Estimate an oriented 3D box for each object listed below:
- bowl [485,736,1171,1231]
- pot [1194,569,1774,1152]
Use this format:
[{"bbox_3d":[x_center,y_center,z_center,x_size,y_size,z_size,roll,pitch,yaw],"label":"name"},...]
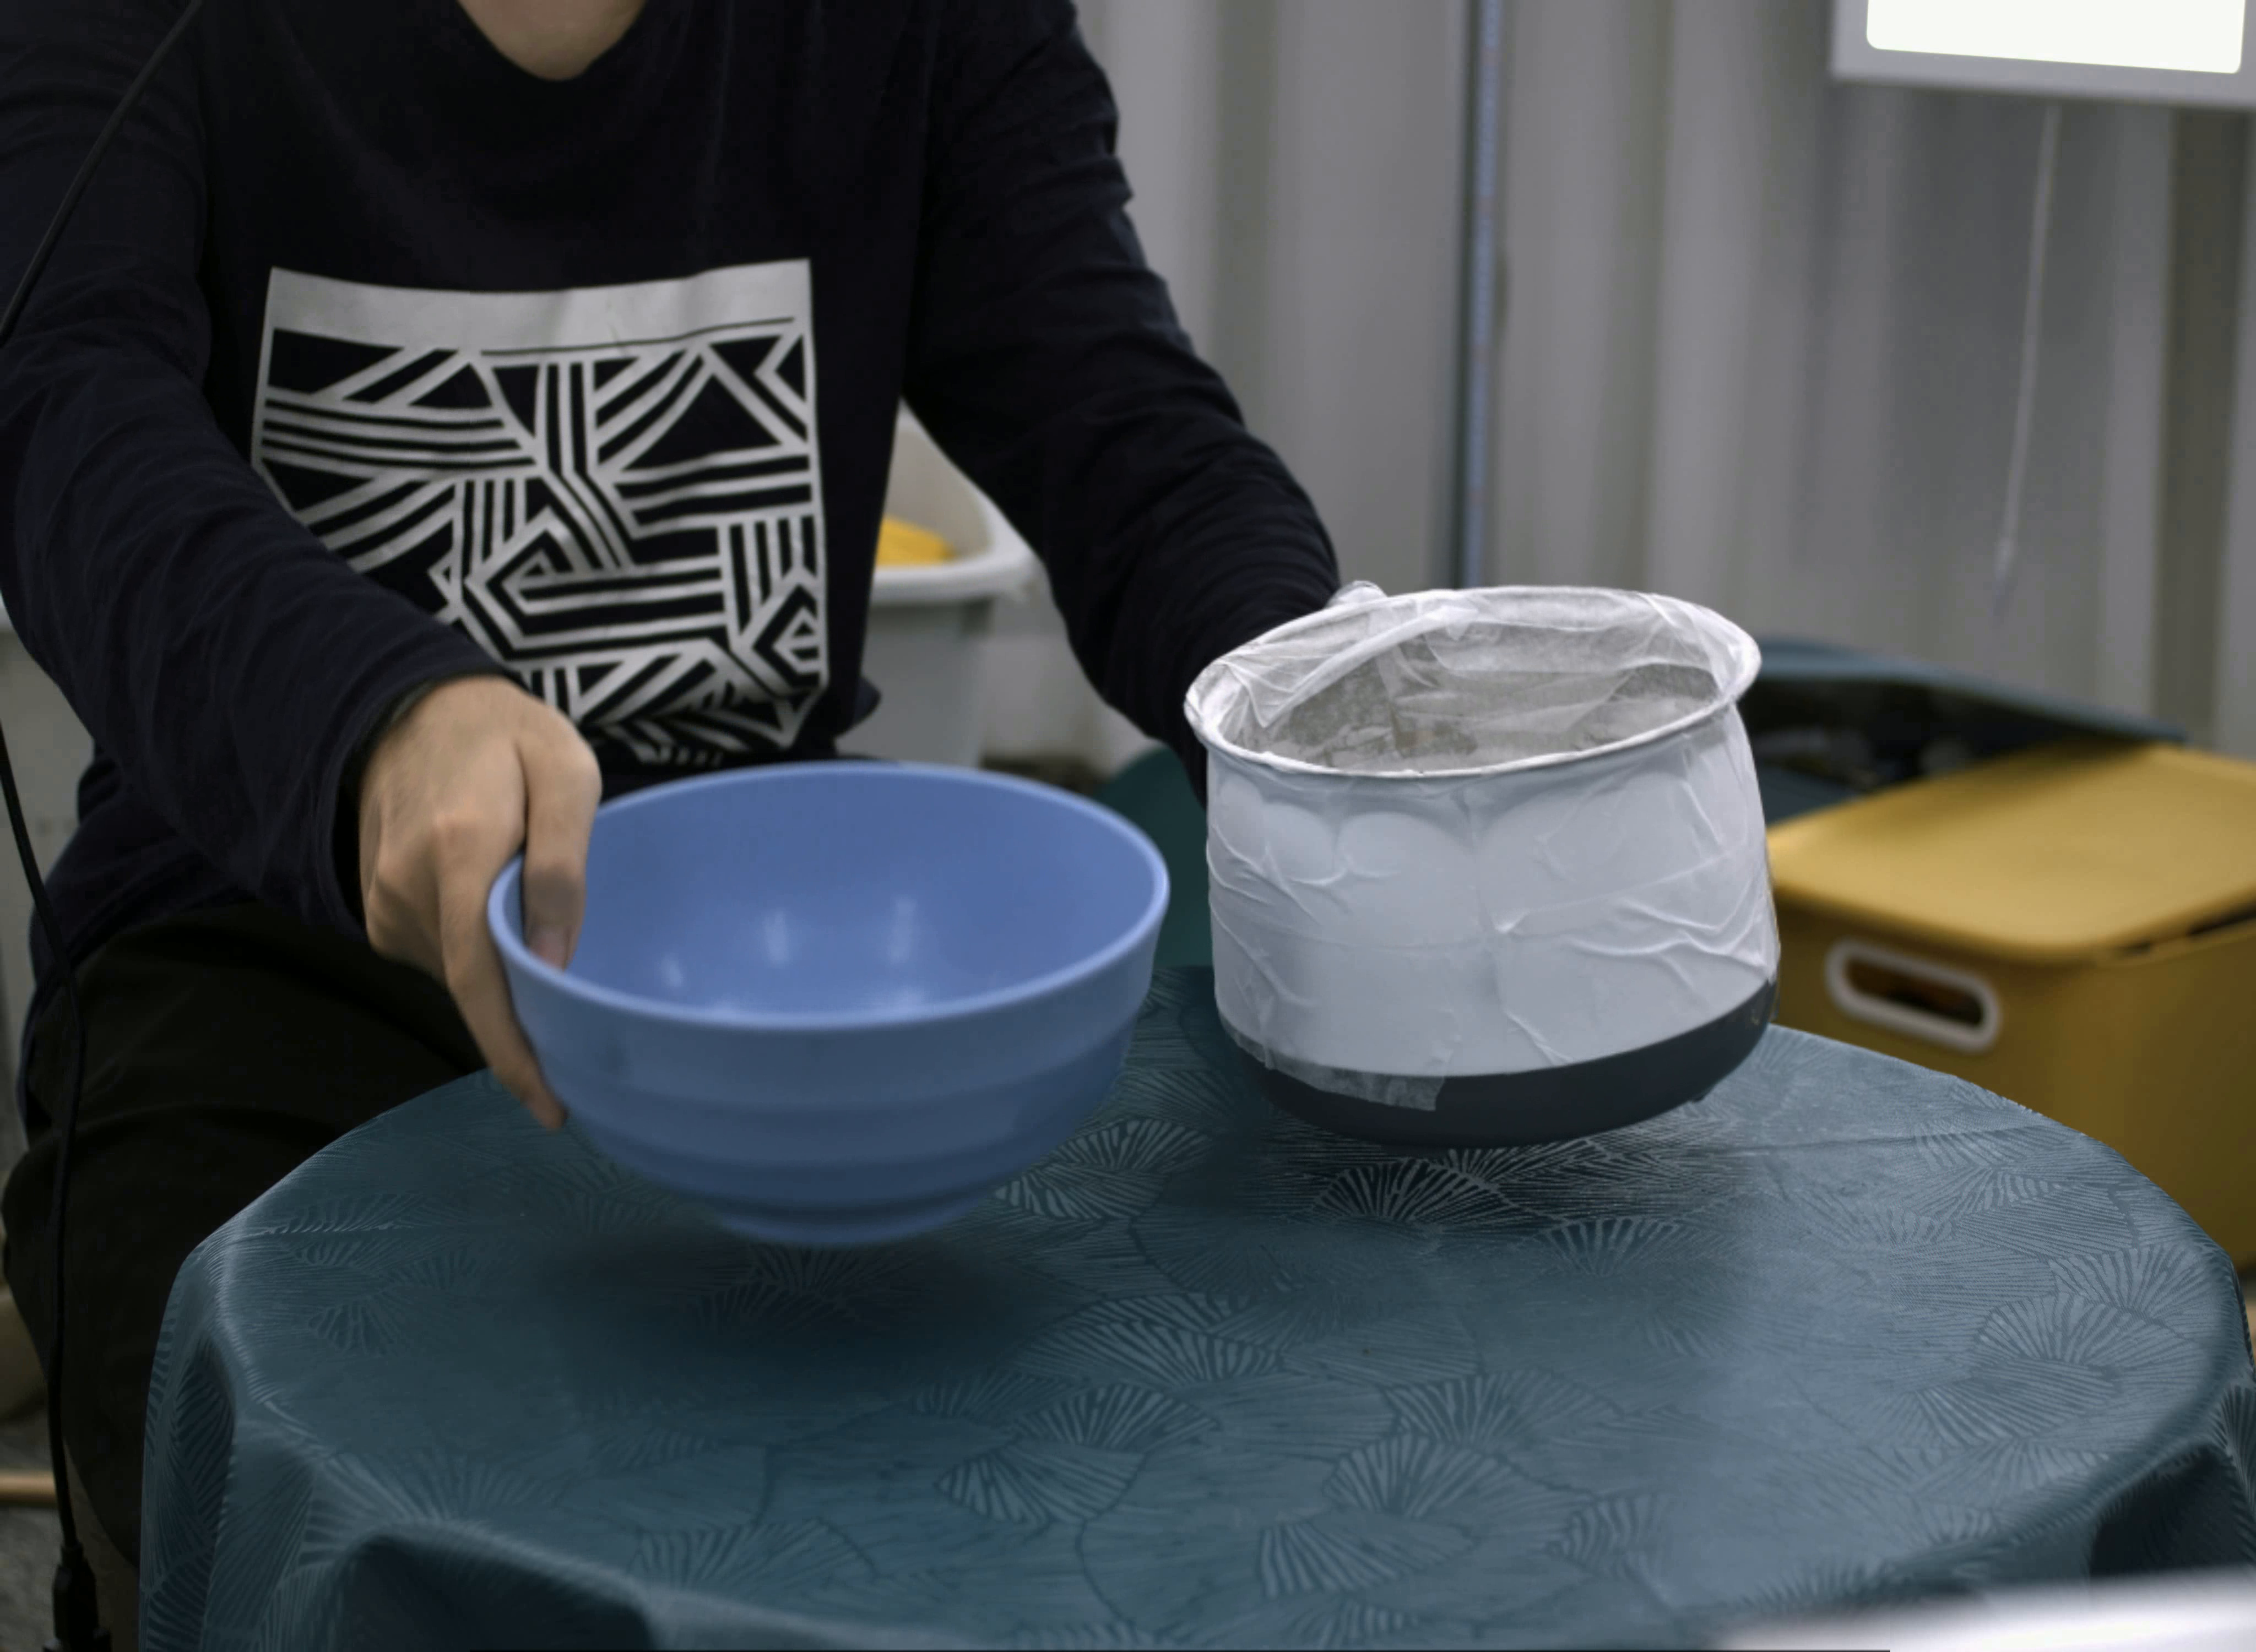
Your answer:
[{"bbox_3d":[-0.085,0.054,1.524,0.196,0.096,0.195,0,25,1],"label":"bowl"},{"bbox_3d":[0.102,0.004,1.658,0.179,0.138,0.231,-10,21,-18],"label":"pot"}]
